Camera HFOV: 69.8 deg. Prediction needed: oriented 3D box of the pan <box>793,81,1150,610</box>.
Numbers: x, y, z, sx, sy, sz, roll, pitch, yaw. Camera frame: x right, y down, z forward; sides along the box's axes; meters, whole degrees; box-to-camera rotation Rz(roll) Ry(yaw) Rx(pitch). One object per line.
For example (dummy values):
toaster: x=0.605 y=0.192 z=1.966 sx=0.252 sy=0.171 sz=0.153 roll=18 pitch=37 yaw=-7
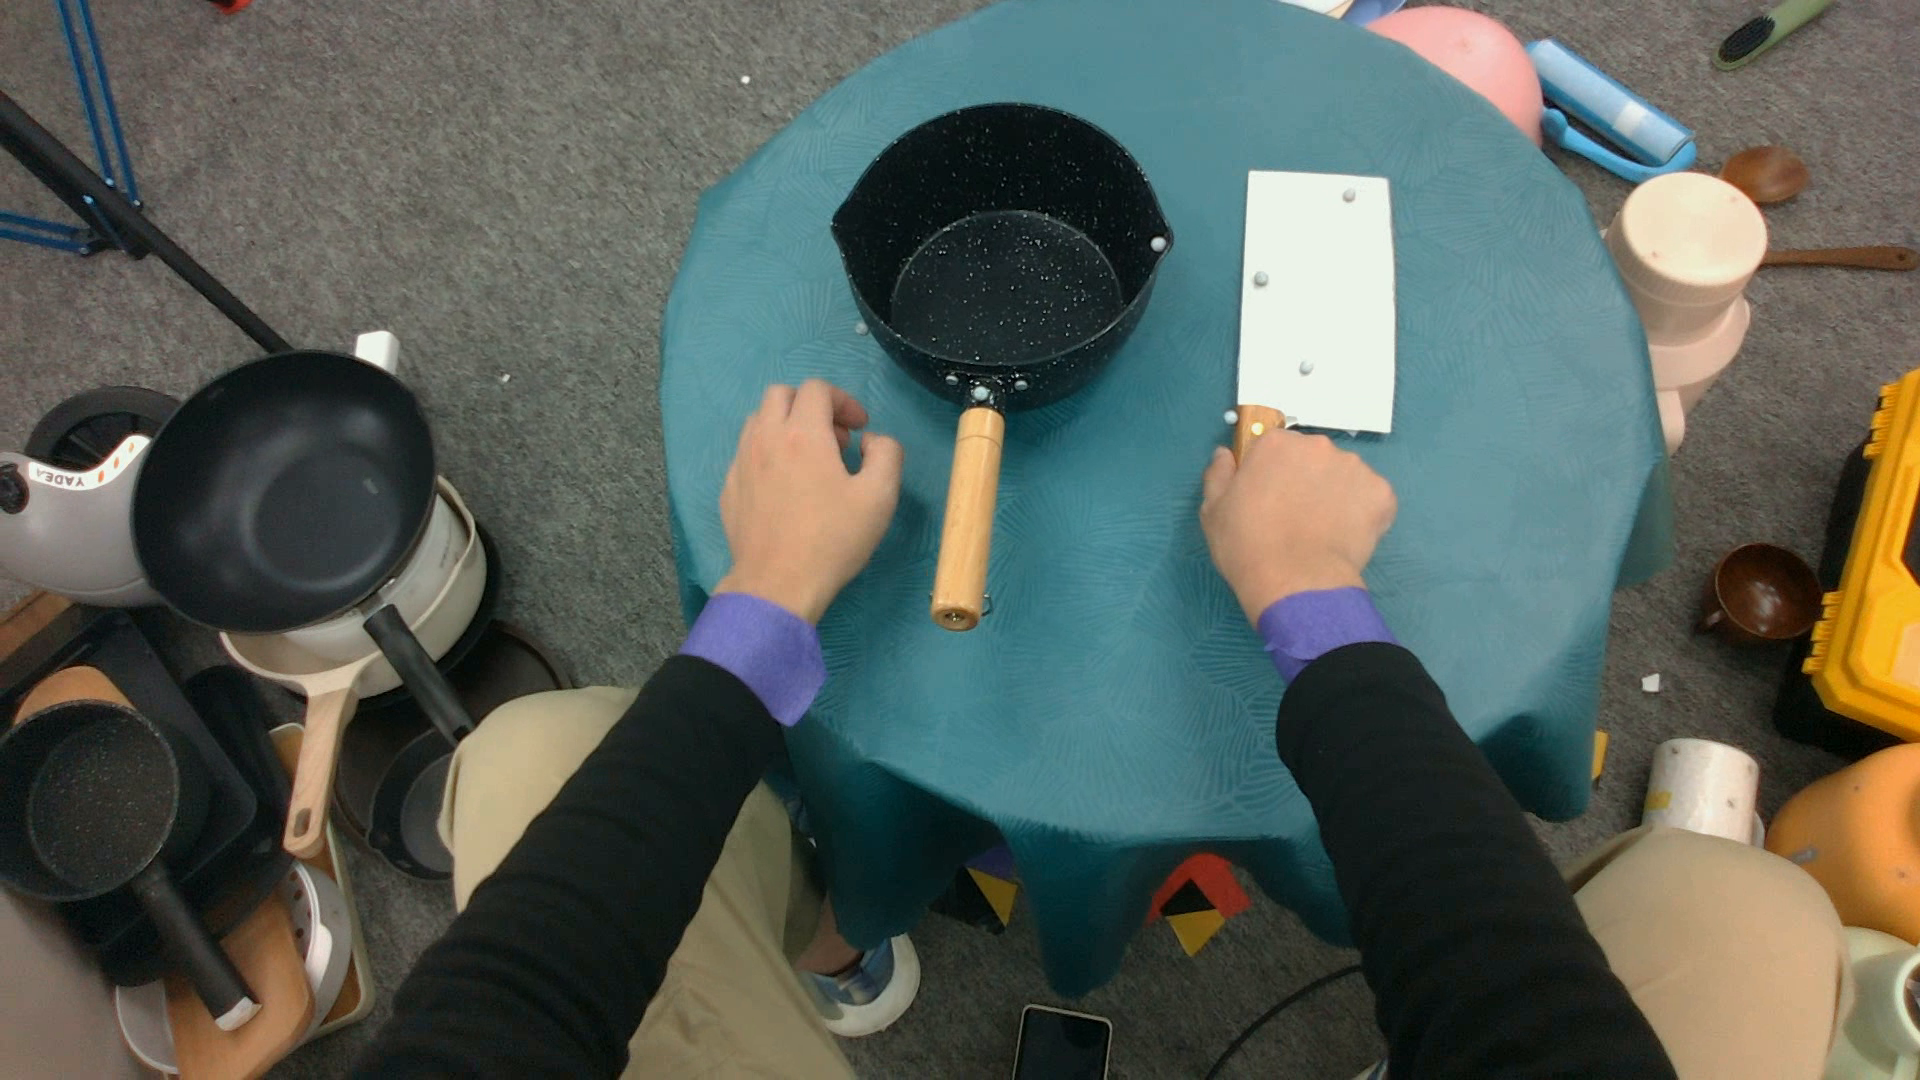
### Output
pan: x=0.002 y=-0.106 z=0.787 sx=0.207 sy=0.108 sz=0.344 roll=2 pitch=66 yaw=4

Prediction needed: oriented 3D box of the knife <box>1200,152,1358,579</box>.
knife: x=0.193 y=-0.115 z=0.829 sx=0.093 sy=0.021 sz=0.307 roll=5 pitch=64 yaw=4
